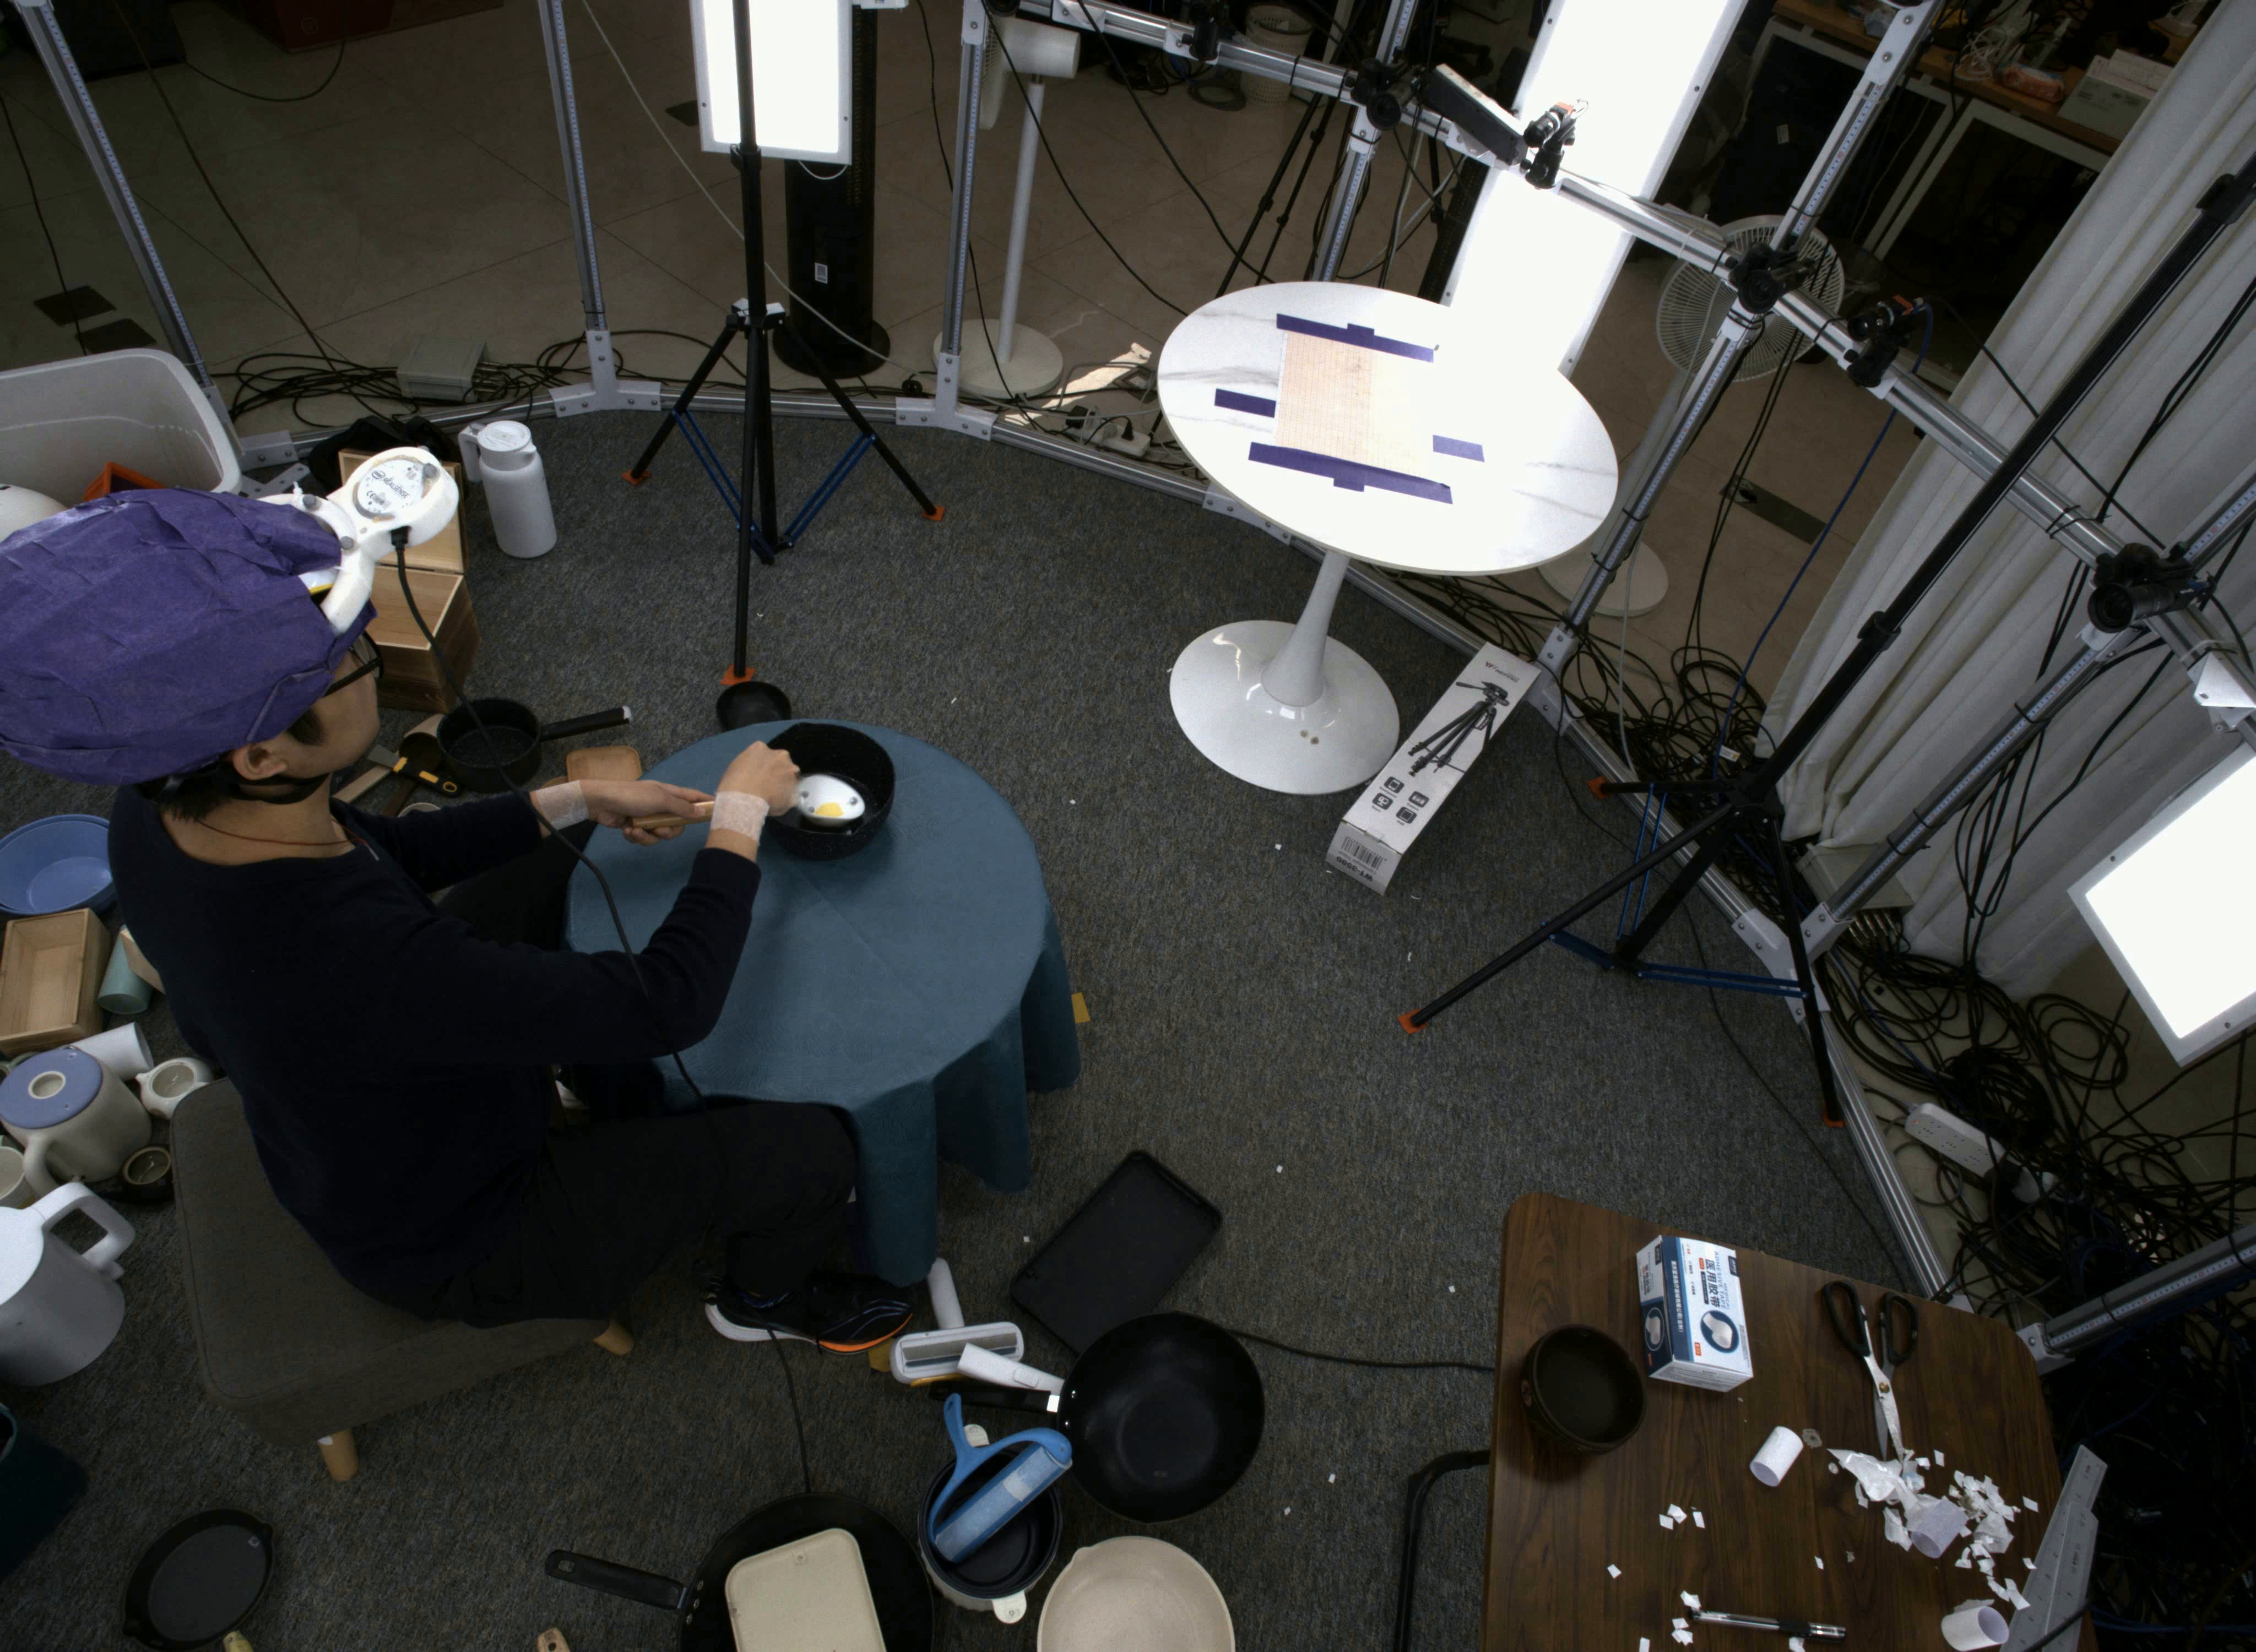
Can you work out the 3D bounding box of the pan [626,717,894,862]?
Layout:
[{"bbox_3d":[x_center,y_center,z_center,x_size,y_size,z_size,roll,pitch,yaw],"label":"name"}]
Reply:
[{"bbox_3d":[-0.466,-0.025,1.651,0.345,0.110,0.202,-18,61,-28],"label":"pan"}]

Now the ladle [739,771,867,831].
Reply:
[{"bbox_3d":[-0.398,-0.040,1.591,0.089,0.295,0.070,43,87,8],"label":"ladle"}]
